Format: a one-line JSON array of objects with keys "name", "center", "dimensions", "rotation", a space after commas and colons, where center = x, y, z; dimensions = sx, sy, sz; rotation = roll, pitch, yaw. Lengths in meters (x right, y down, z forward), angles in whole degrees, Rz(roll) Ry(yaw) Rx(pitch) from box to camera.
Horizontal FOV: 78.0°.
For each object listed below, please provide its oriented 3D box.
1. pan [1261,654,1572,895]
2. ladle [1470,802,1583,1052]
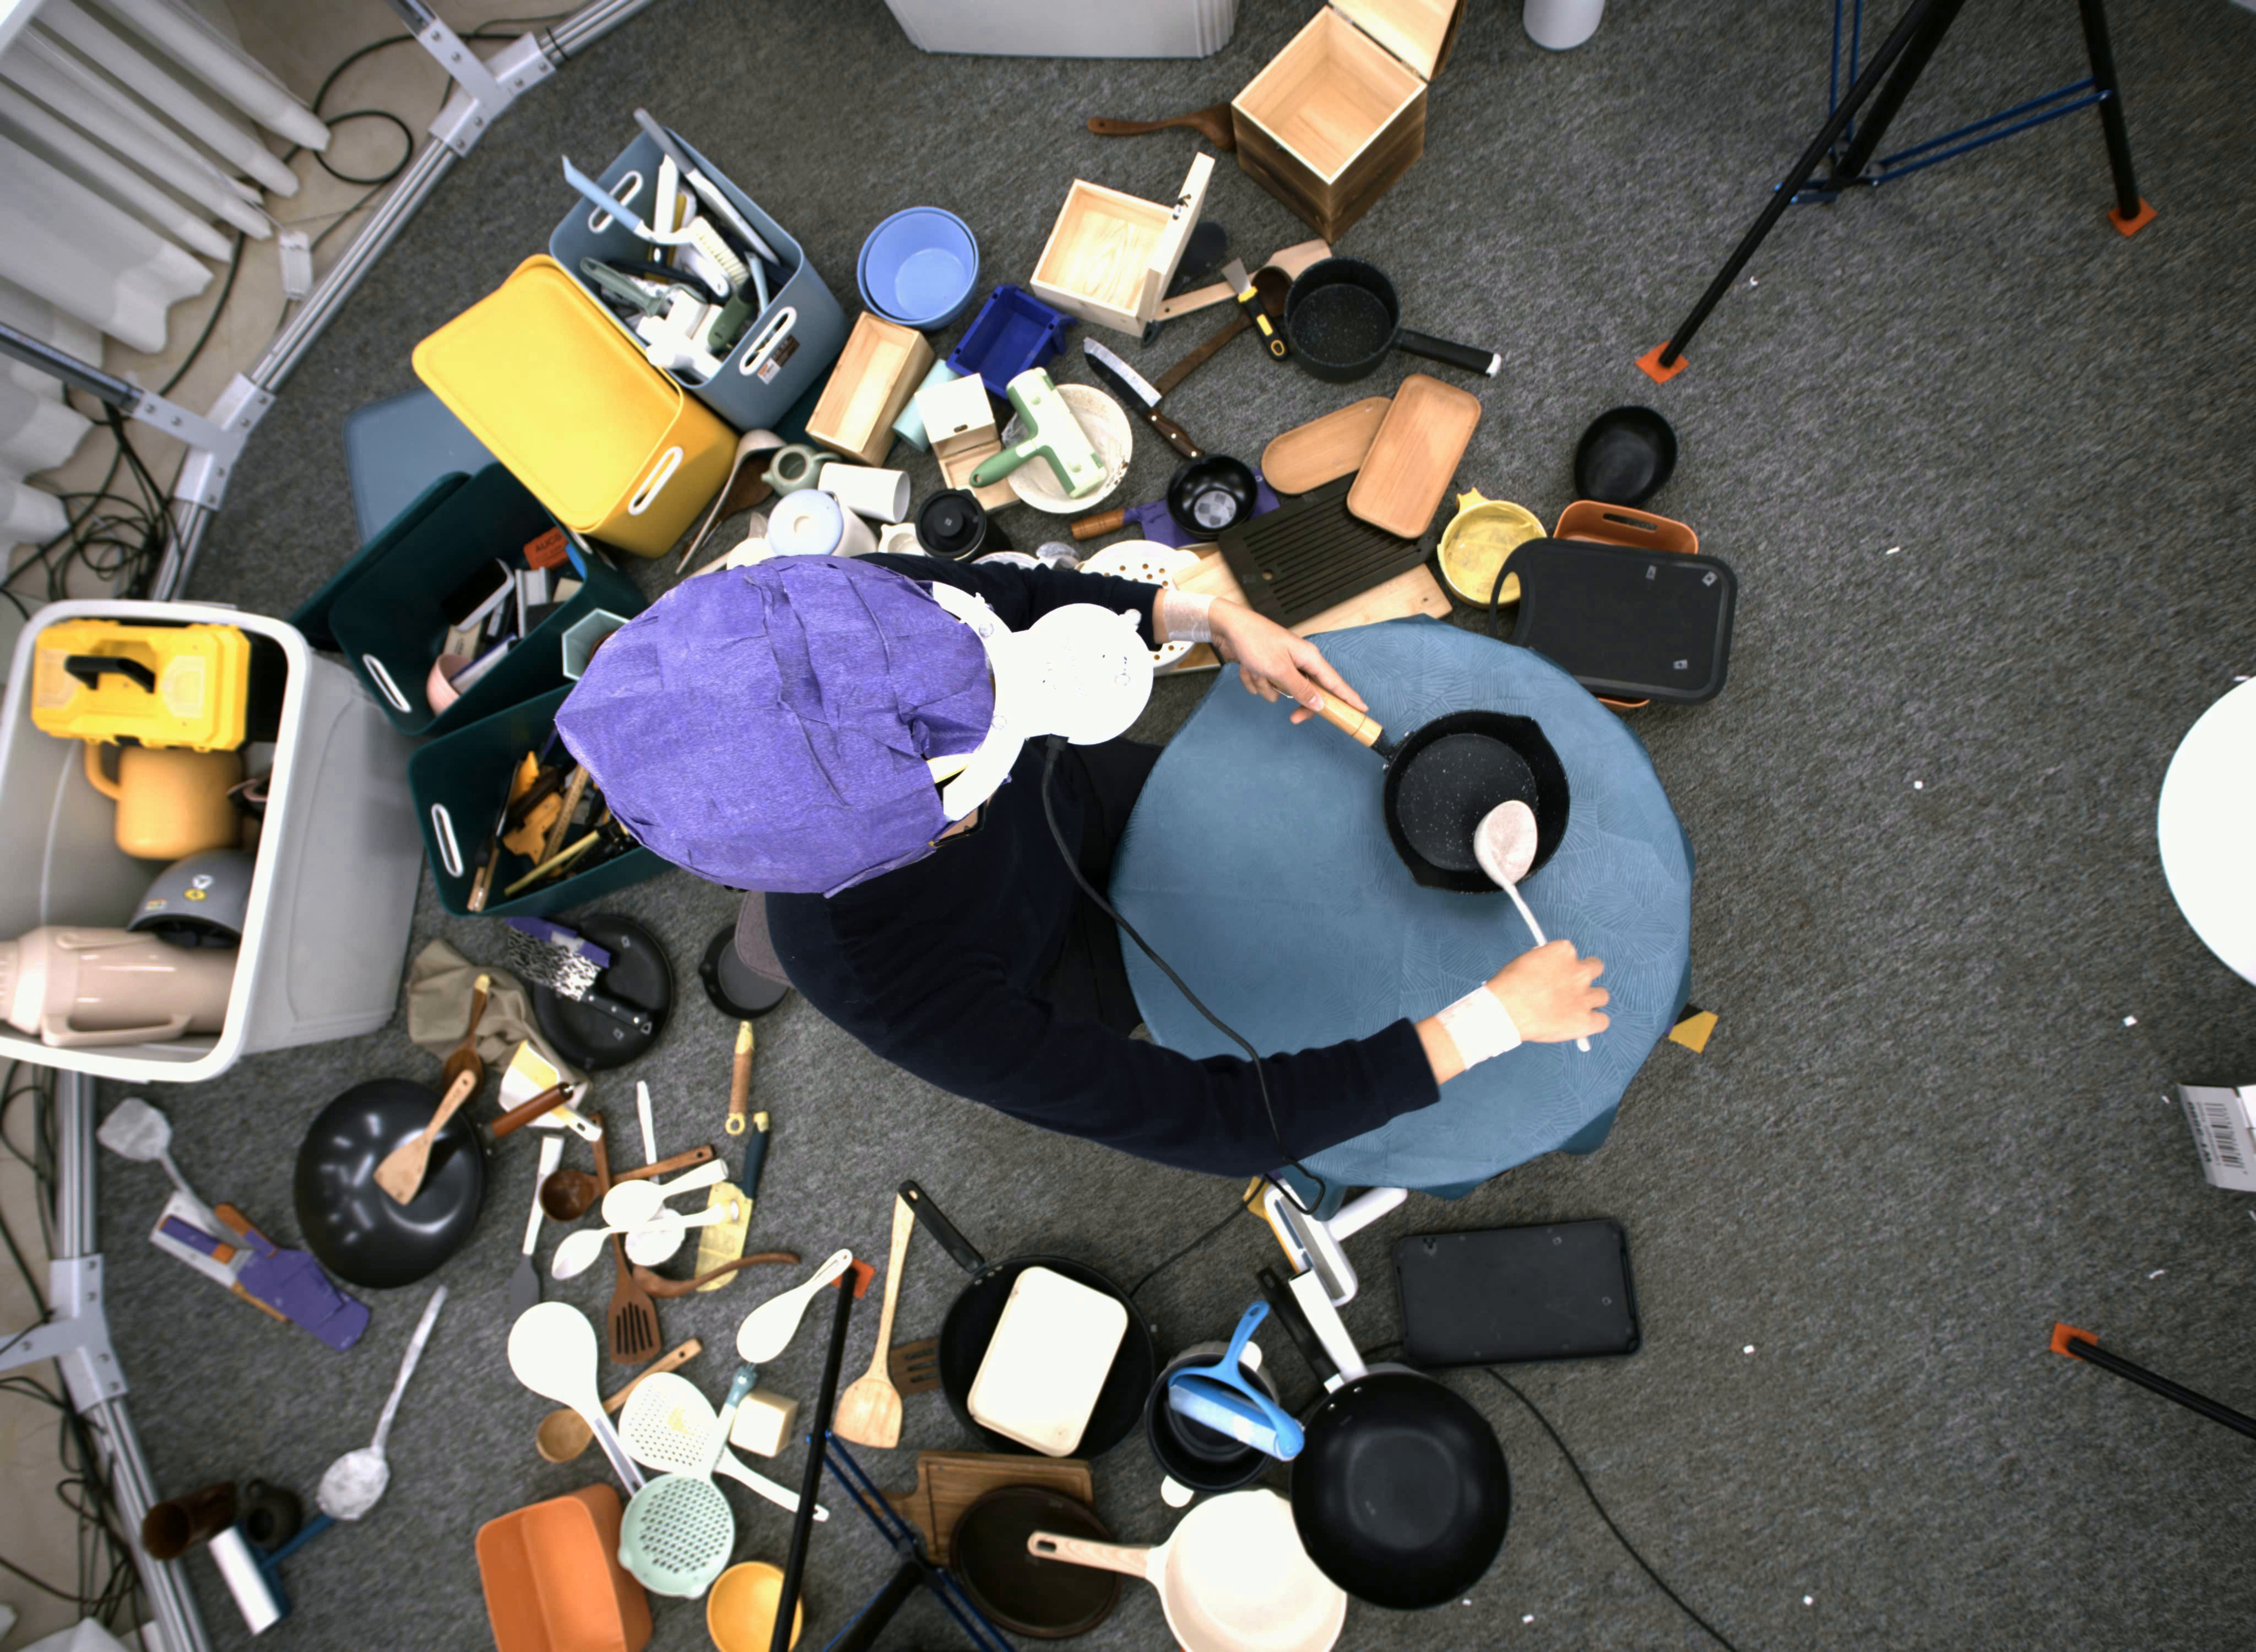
[{"name": "pan", "center": [0.282, -0.068, 1.396], "dimensions": [0.342, 0.107, 0.209], "rotation": [32, 98, 4]}, {"name": "ladle", "center": [0.393, 0.085, 1.284], "dimensions": [0.070, 0.090, 0.268], "rotation": [-36, 40, 19]}]
